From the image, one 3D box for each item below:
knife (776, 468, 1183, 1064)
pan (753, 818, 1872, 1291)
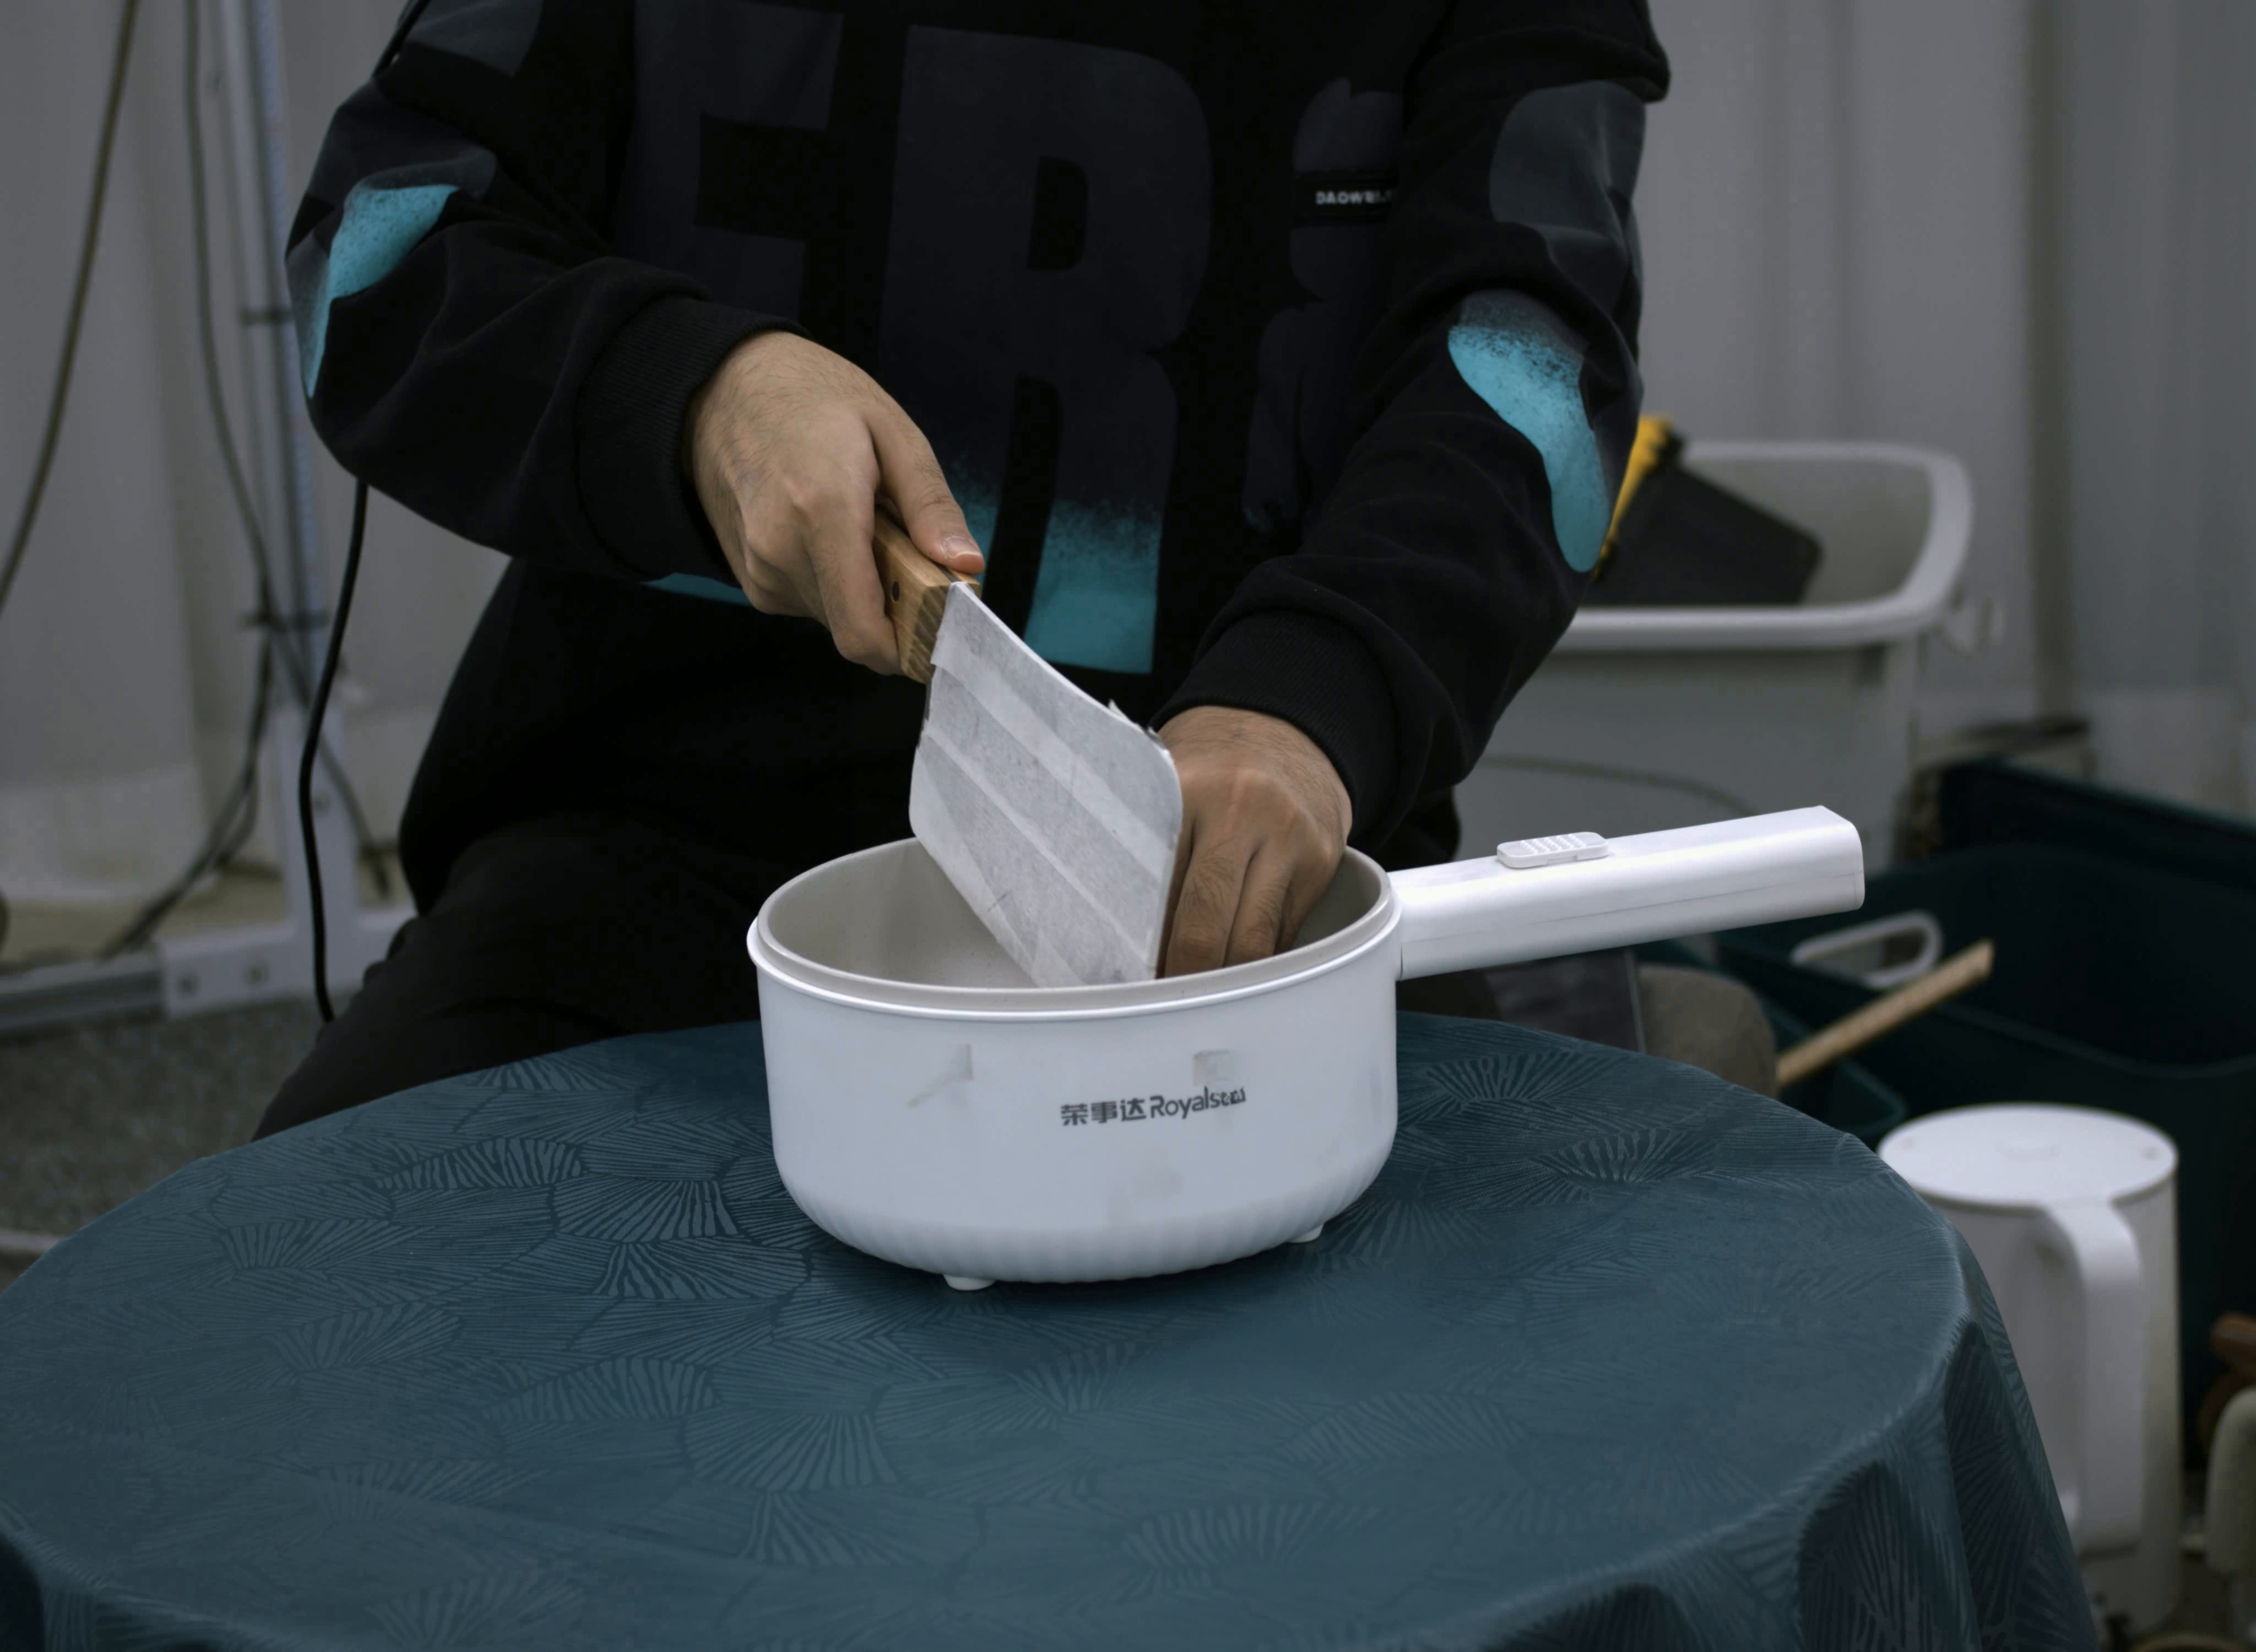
[{"bbox_3d":[-0.048,-0.036,1.708,0.021,0.113,0.319,2,26,-26],"label":"knife"},{"bbox_3d":[0.061,0.064,1.706,0.353,0.102,0.202,-6,14,-15],"label":"pan"}]
